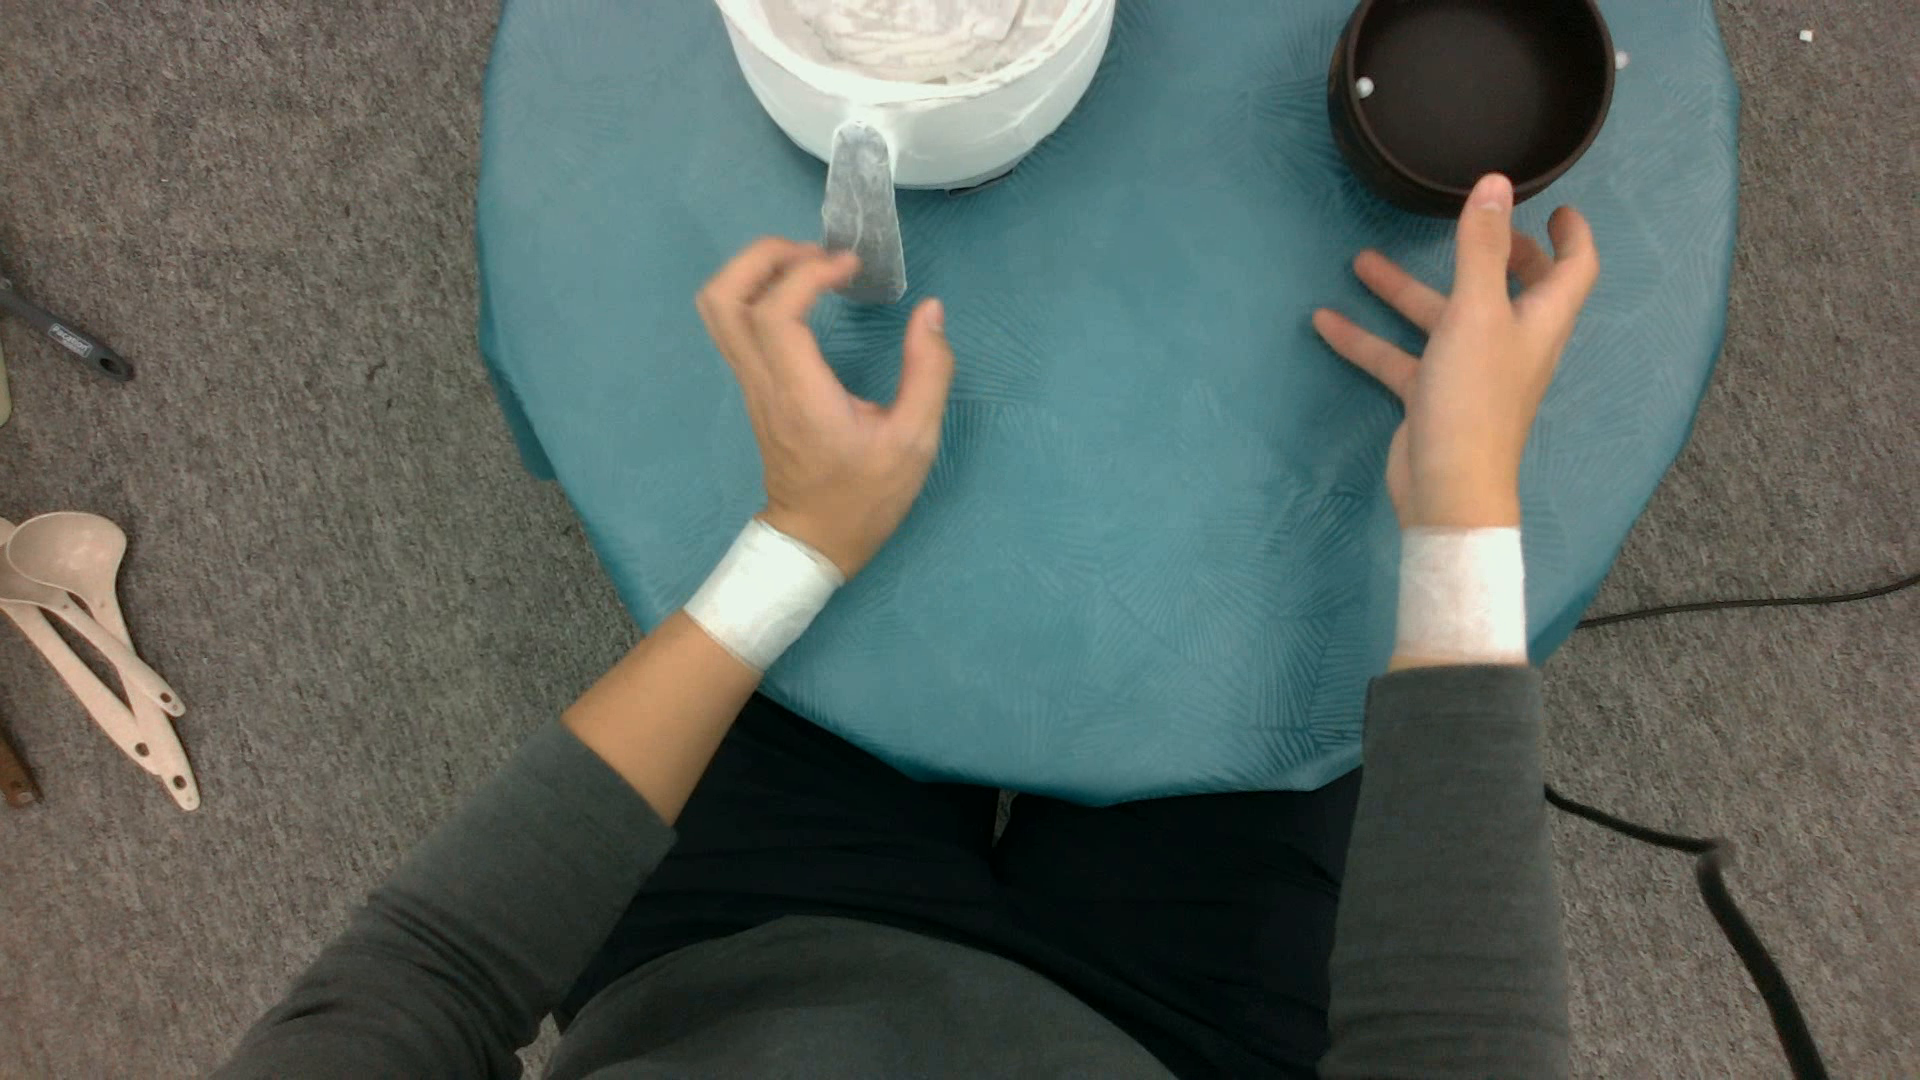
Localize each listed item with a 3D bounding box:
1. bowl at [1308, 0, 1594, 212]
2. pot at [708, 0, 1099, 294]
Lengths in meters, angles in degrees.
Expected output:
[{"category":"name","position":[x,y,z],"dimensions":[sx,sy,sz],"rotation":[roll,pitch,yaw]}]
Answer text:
[{"category":"bowl","position":[0.215,-0.205,0.625],"dimensions":[0.118,0.070,0.118],"rotation":[0,90,0]},{"category":"pot","position":[-0.029,-0.228,0.592],"dimensions":[0.179,0.136,0.234],"rotation":[9,88,0]}]
